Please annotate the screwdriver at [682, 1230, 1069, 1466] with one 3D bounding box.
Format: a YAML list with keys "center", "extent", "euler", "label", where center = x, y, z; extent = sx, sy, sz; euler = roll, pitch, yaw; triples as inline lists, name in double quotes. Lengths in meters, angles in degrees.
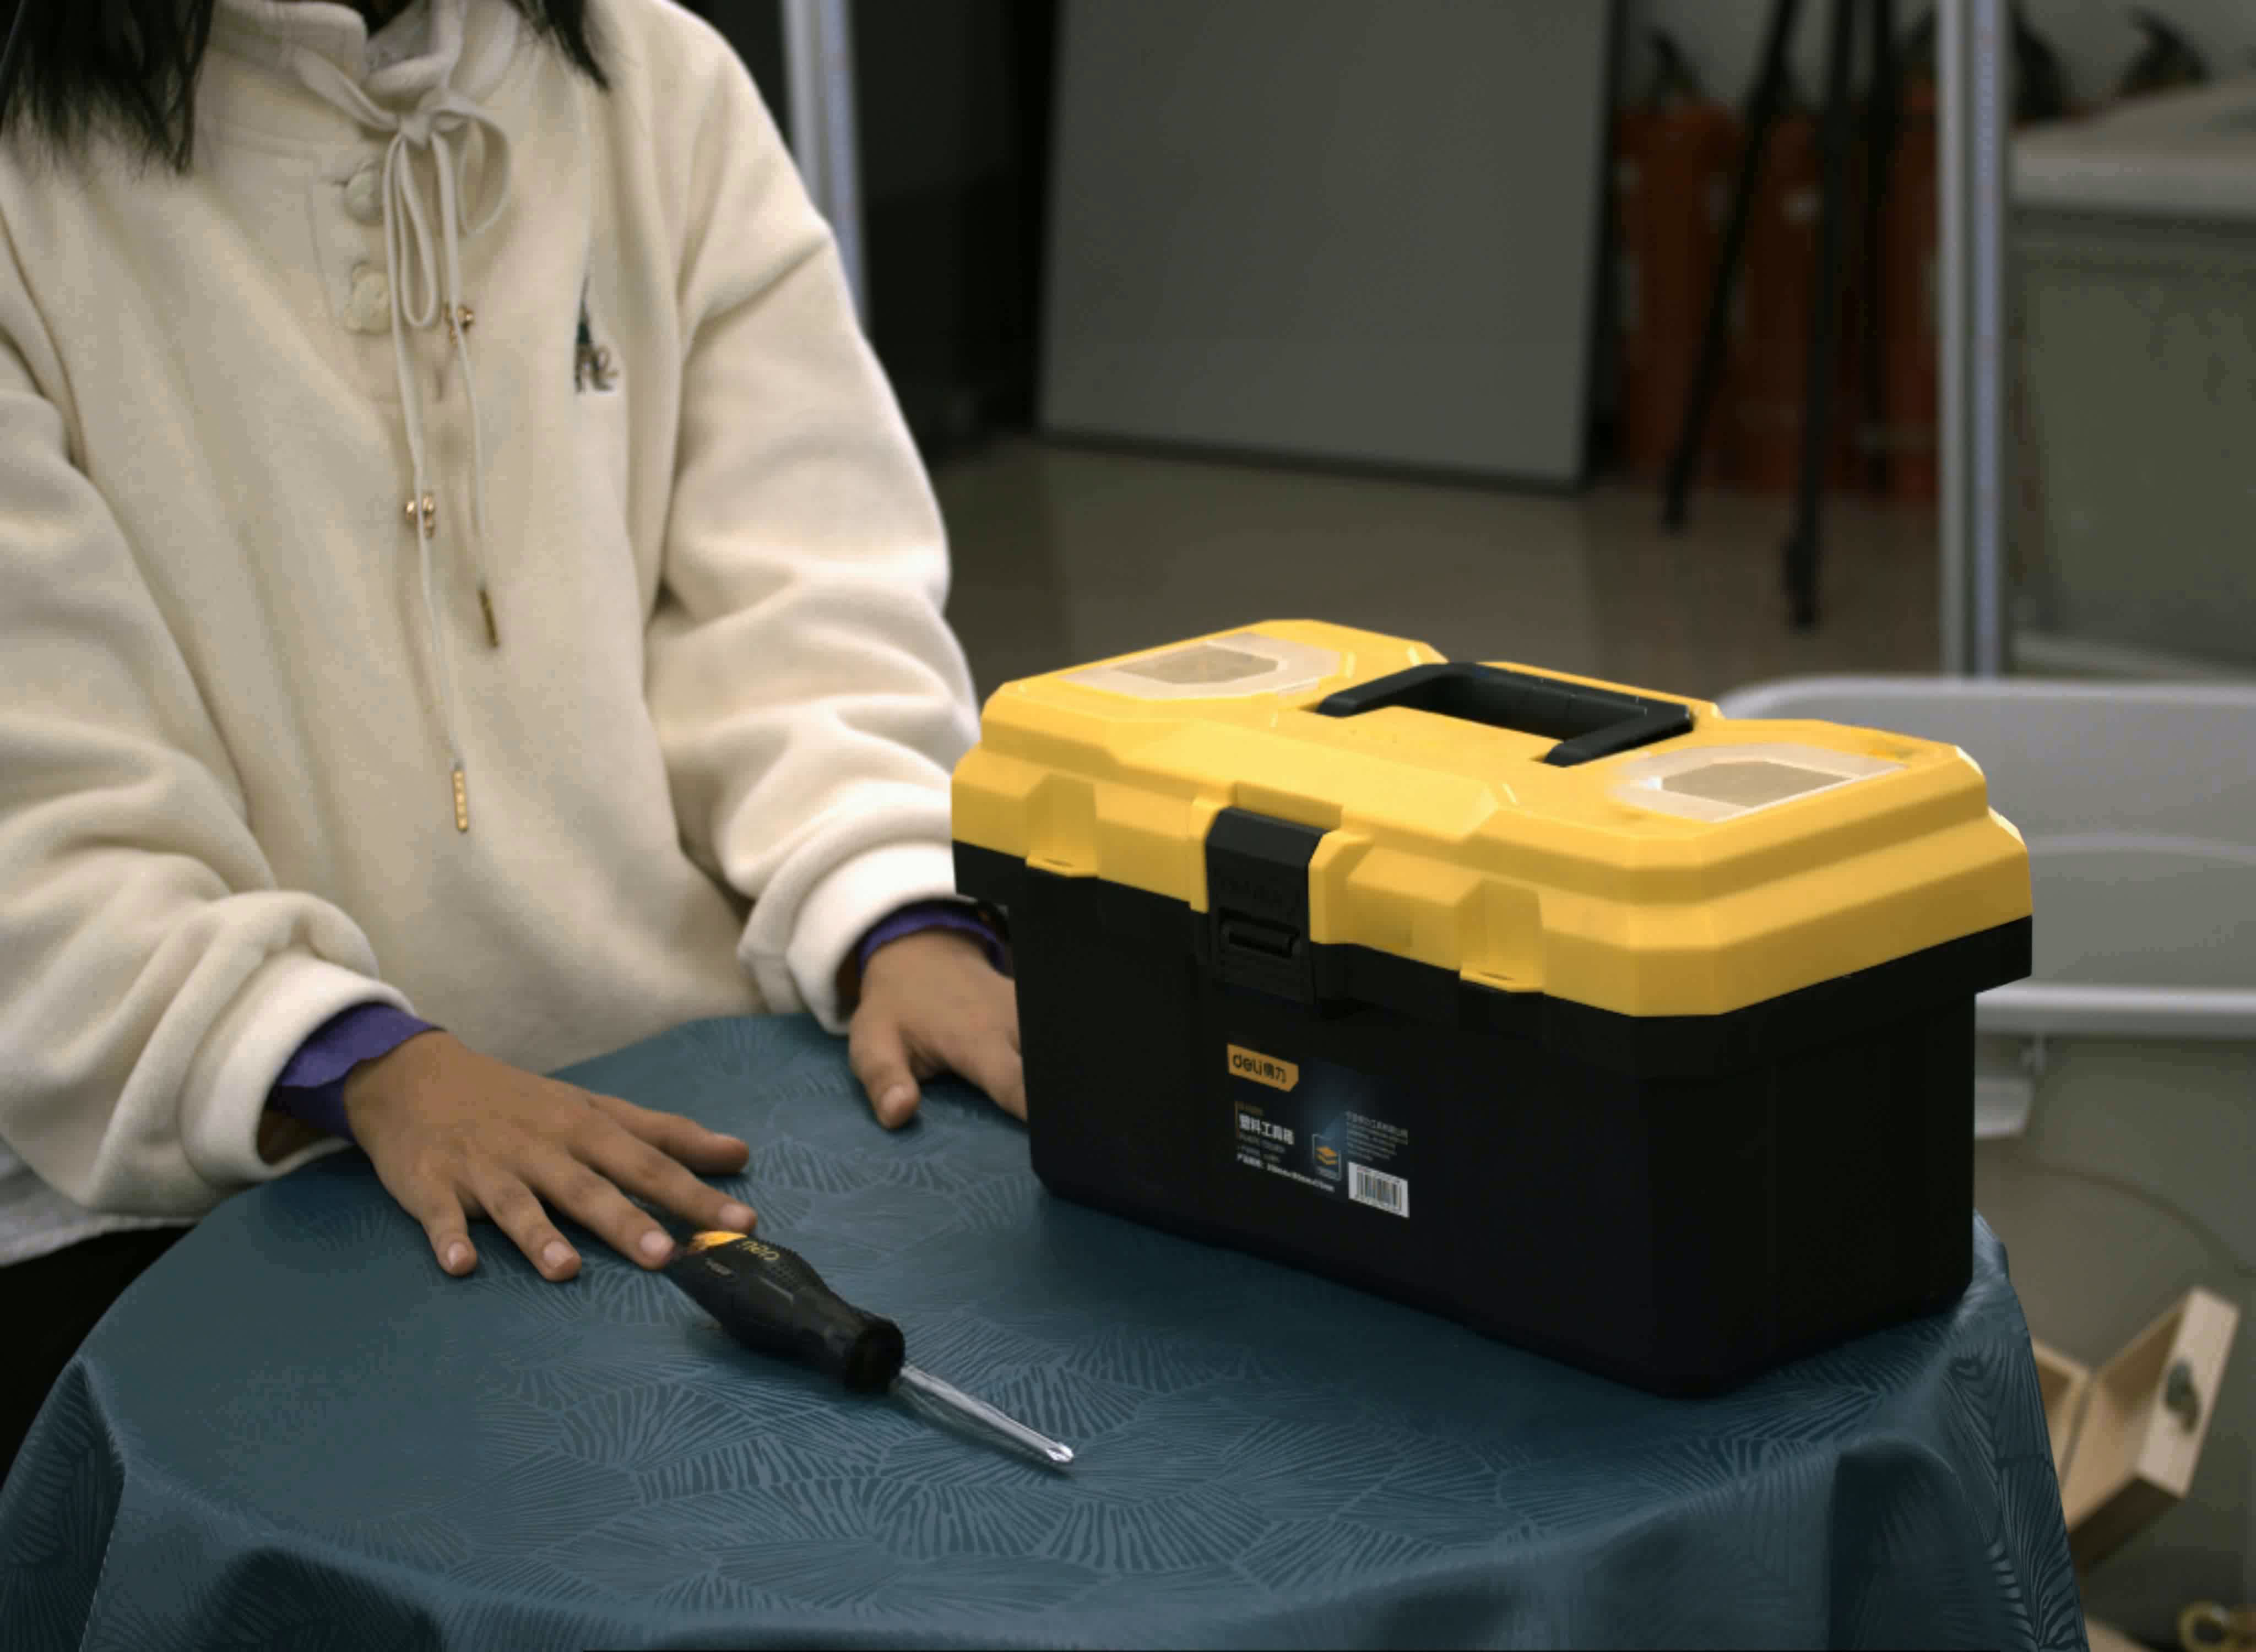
- center: [-0.075, 0.154, 1.593]
  extent: [0.031, 0.032, 0.198]
  euler: [-12, 17, -32]
  label: "screwdriver"

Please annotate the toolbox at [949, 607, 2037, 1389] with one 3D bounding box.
- center: [0.106, 0.046, 1.676]
  extent: [0.177, 0.175, 0.355]
  euler: [-14, 17, -36]
  label: "toolbox"
